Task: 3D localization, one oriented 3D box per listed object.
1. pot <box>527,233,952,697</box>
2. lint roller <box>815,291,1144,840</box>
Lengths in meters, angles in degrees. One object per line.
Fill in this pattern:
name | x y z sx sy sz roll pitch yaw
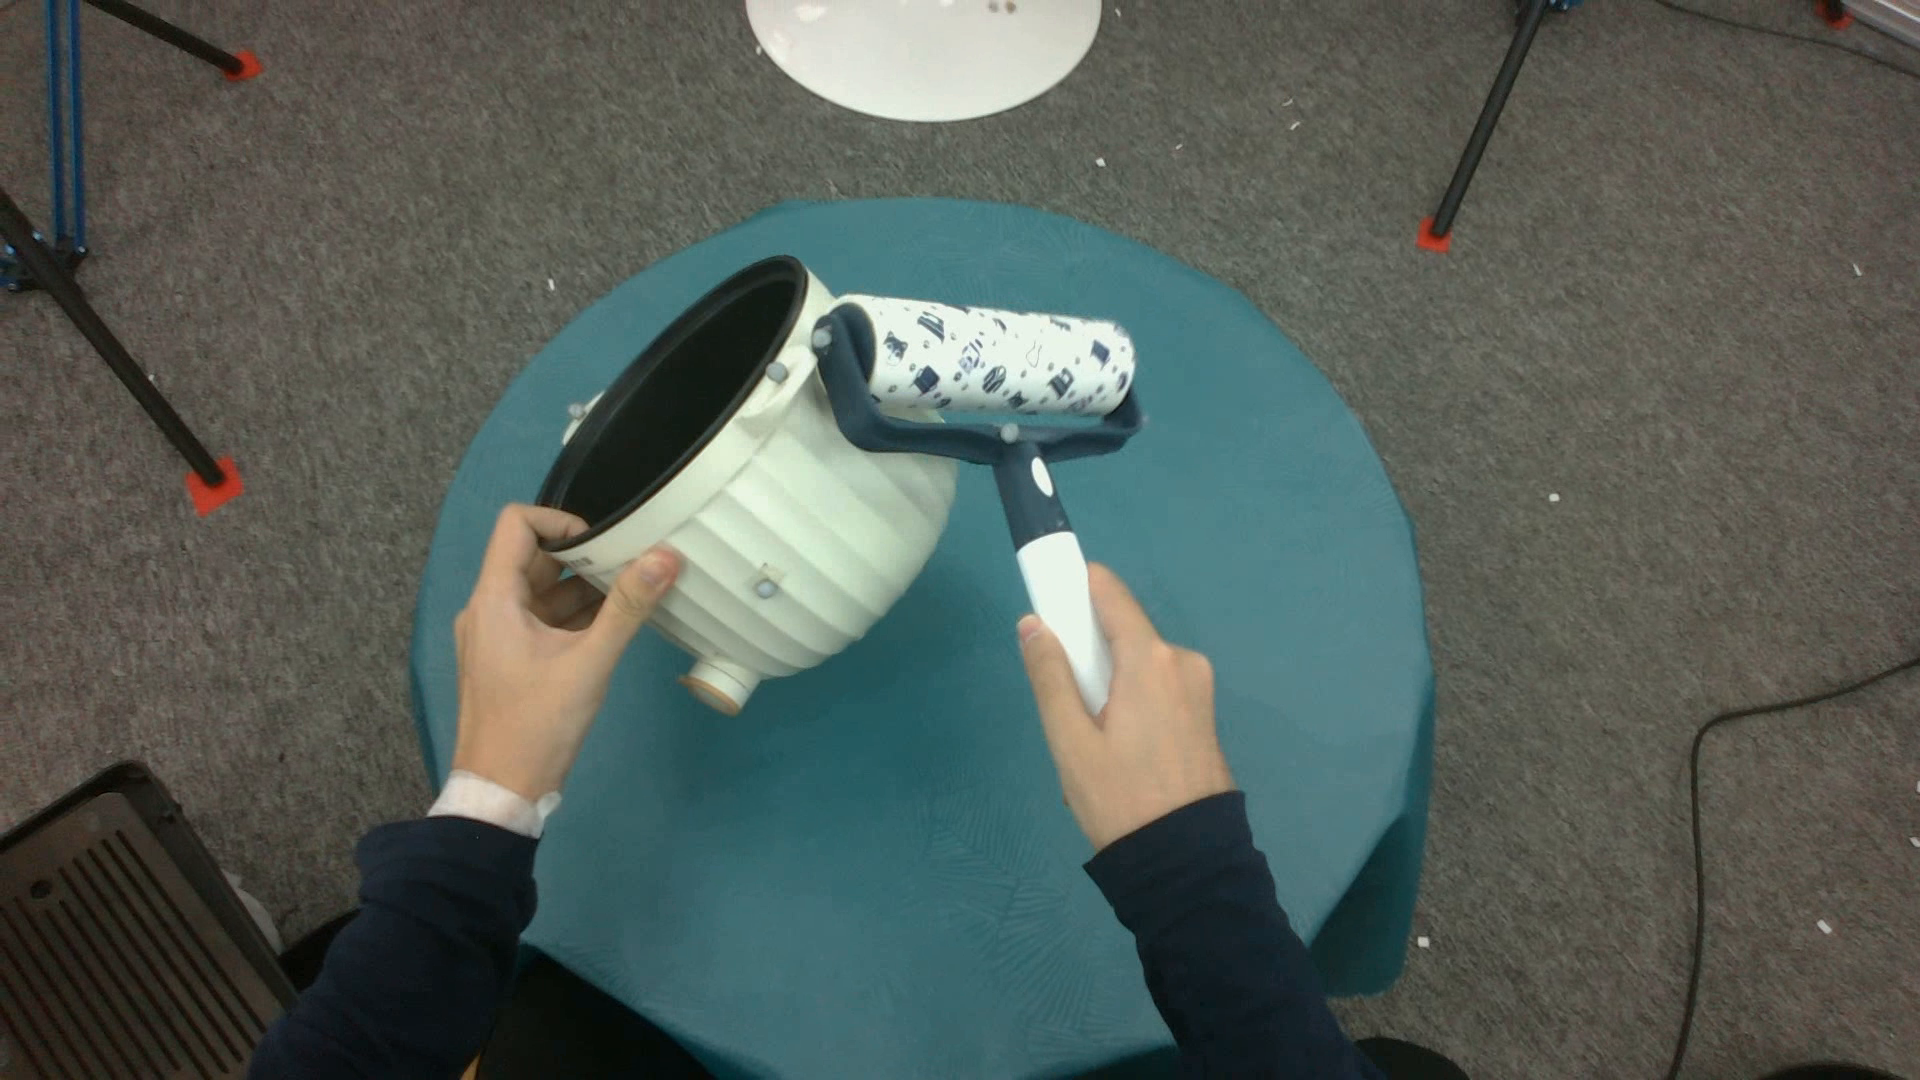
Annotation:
pot | -0.101 -0.033 0.677 0.142 0.239 0.191 45 64 -25
lint roller | 0.038 0.009 0.612 0.177 0.050 0.247 0 64 -49
